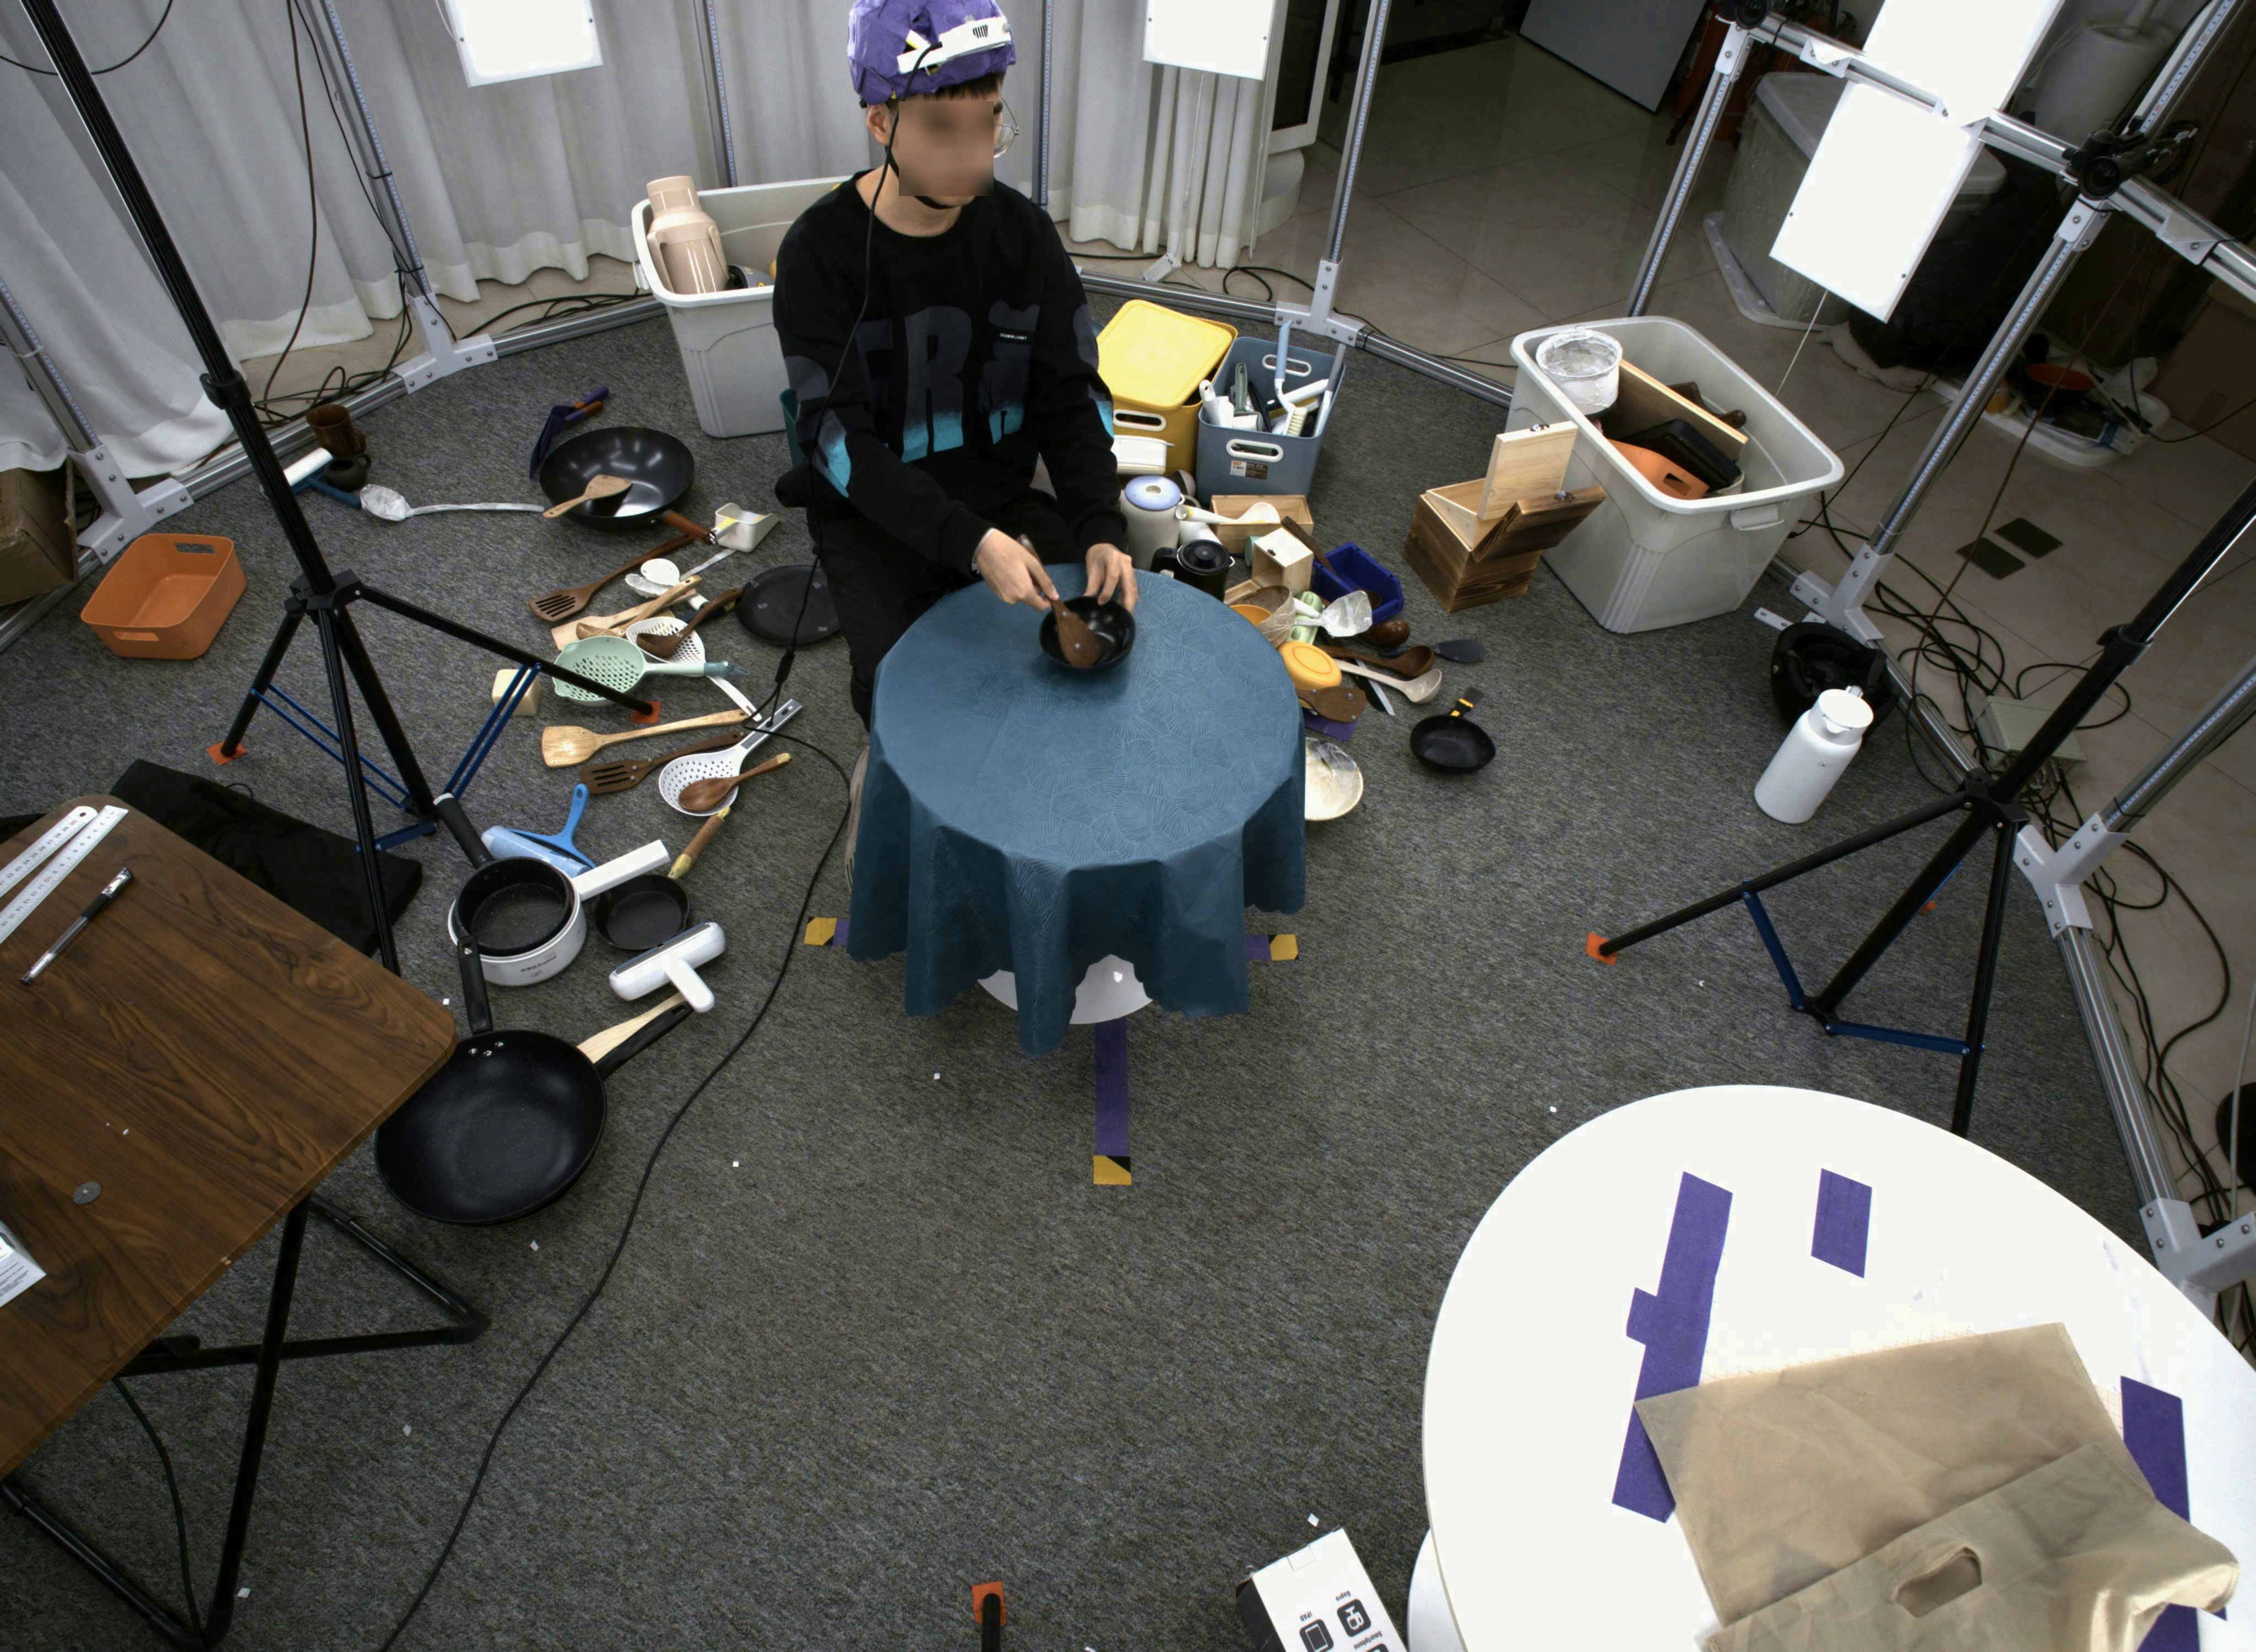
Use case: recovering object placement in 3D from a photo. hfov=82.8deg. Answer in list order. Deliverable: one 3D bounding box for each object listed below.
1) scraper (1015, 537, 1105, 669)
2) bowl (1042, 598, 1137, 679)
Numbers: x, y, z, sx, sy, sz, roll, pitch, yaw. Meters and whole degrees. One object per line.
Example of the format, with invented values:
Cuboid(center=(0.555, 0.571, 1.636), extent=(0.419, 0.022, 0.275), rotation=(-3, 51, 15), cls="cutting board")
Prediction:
Cuboid(center=(-0.101, -0.316, 1.837), extent=(0.011, 0.208, 0.077), rotation=(-14, 24, 42), cls="scraper")
Cuboid(center=(-0.054, -0.265, 1.873), extent=(0.140, 0.048, 0.143), rotation=(-3, 56, 4), cls="bowl")
